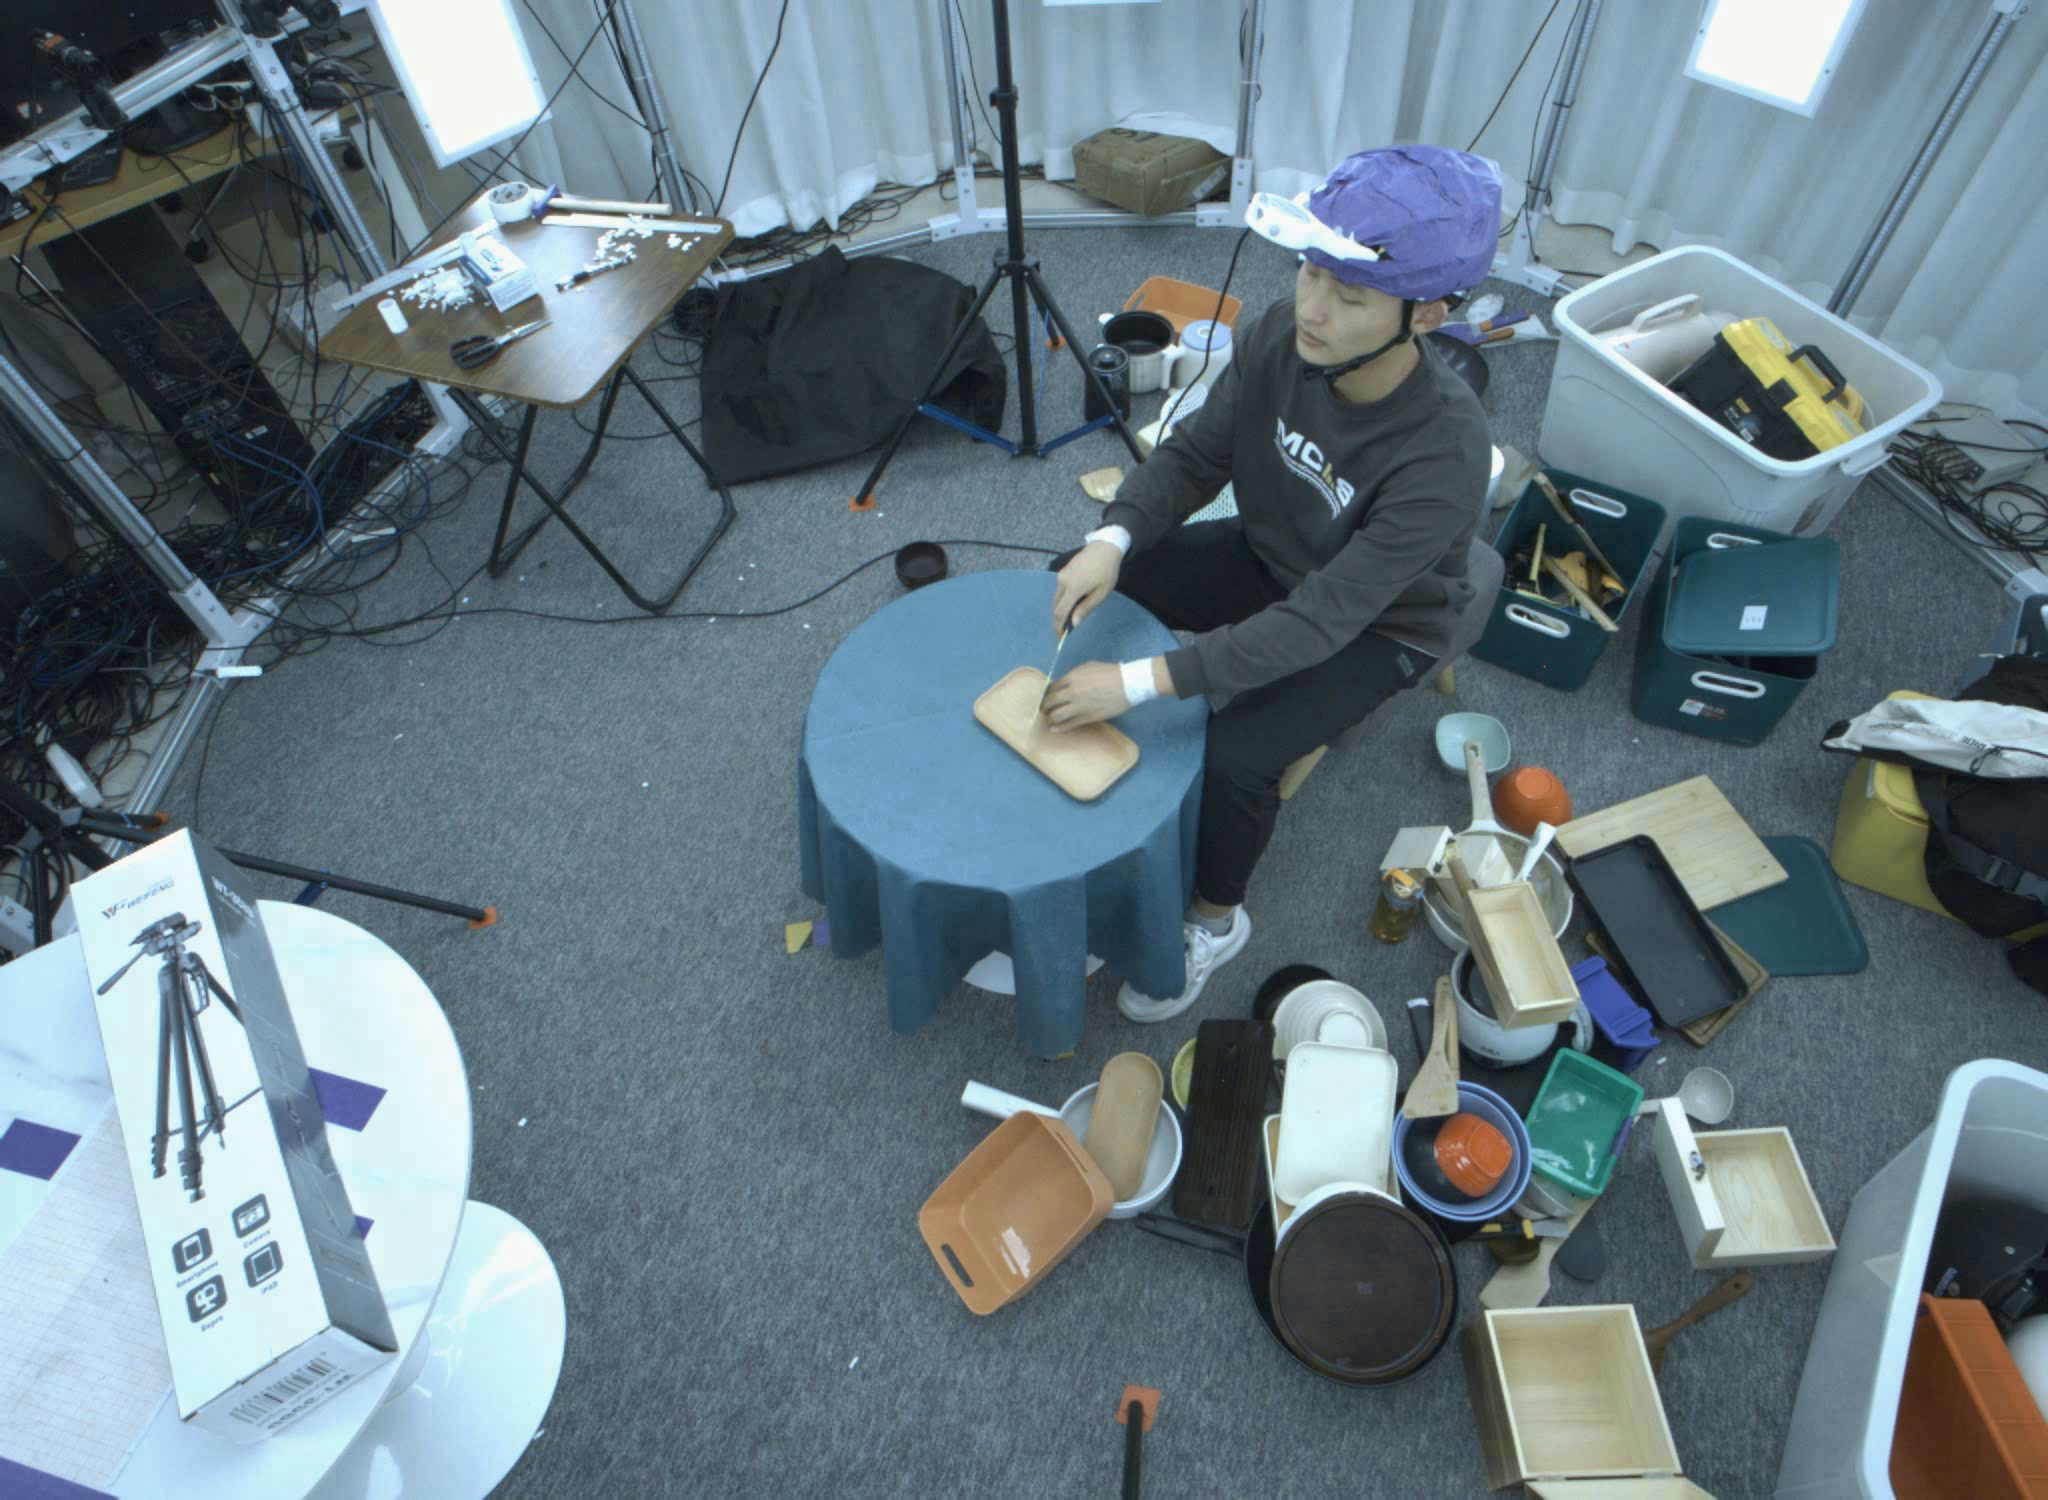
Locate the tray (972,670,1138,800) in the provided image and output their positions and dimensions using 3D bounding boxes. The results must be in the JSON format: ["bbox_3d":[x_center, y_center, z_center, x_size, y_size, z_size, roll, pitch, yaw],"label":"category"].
[{"bbox_3d":[0.043,-0.024,1.805,0.131,0.023,0.246,-37,59,-26],"label":"tray"}]

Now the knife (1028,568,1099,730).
[{"bbox_3d":[0.054,-0.150,1.819,0.027,0.081,0.289,23,65,-2],"label":"knife"}]
